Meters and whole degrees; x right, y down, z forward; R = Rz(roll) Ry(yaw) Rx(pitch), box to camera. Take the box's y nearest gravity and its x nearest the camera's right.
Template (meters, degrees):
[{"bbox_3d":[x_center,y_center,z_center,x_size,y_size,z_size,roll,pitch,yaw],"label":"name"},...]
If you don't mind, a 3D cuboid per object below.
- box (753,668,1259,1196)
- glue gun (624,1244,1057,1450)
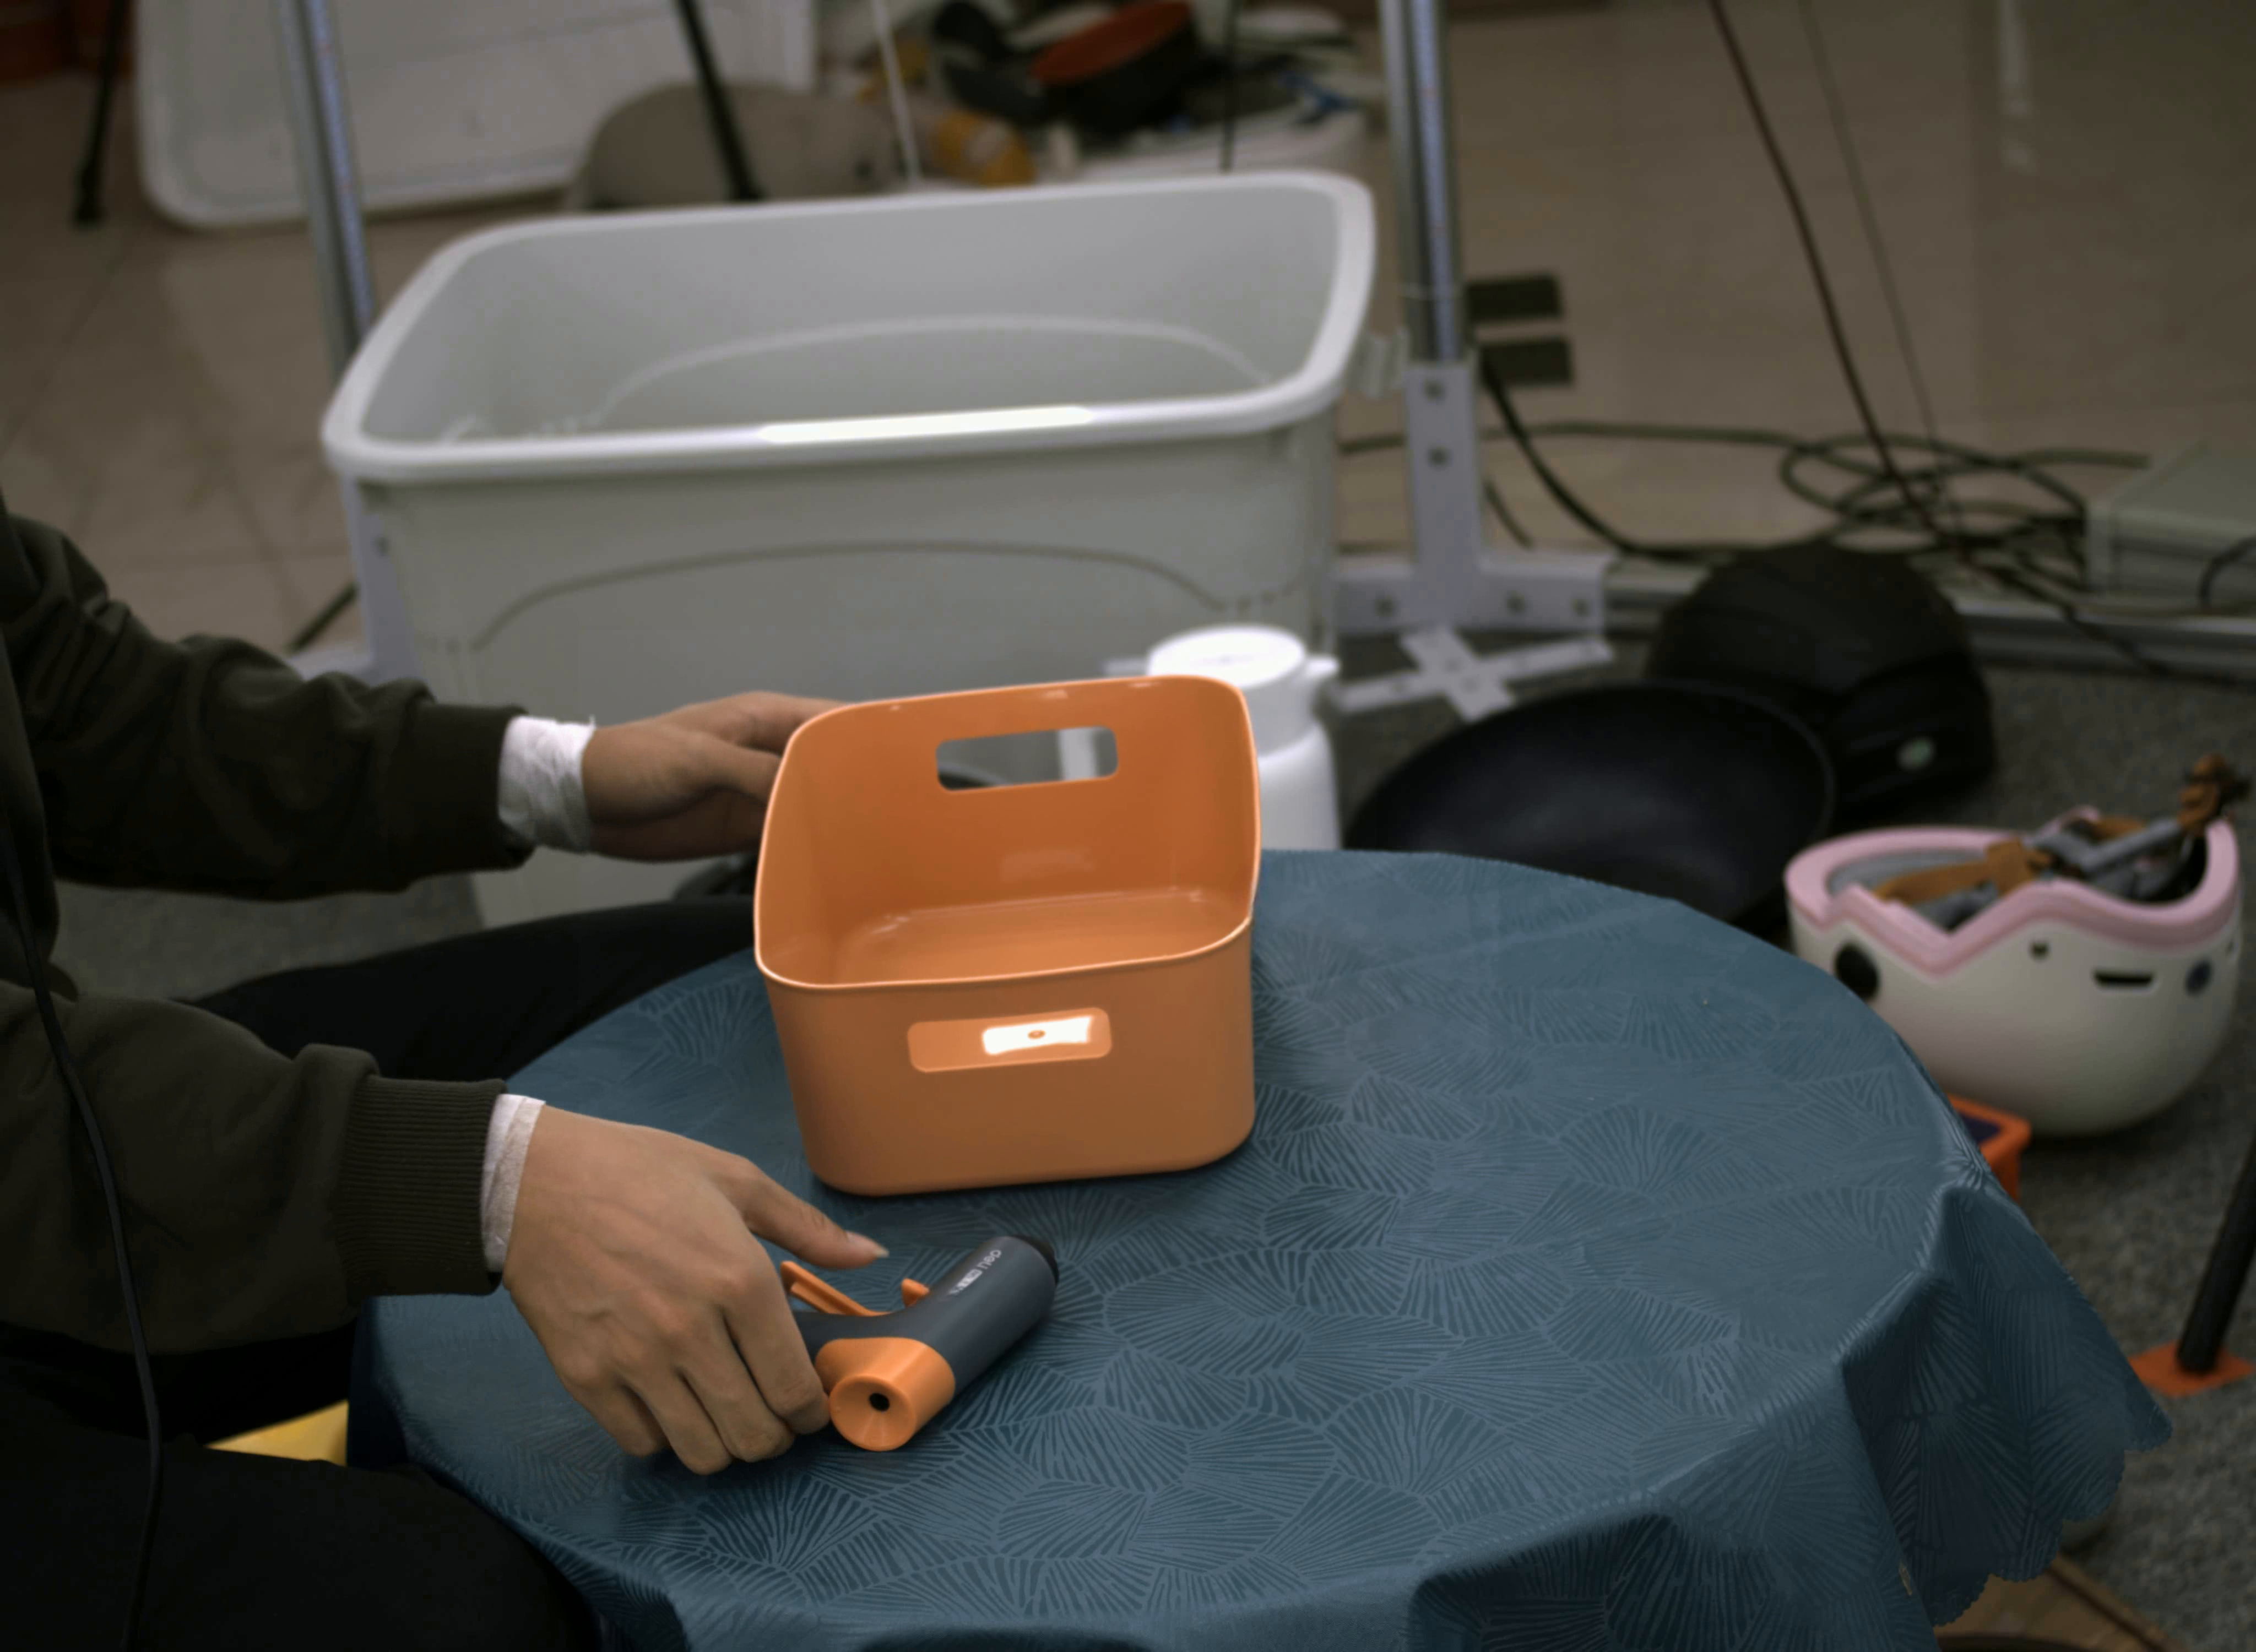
[{"bbox_3d":[-0.042,0.042,2.243,0.199,0.104,0.269,-5,26,2],"label":"box"},{"bbox_3d":[-0.102,0.181,2.047,0.139,0.041,0.116,3,24,14],"label":"glue gun"}]
